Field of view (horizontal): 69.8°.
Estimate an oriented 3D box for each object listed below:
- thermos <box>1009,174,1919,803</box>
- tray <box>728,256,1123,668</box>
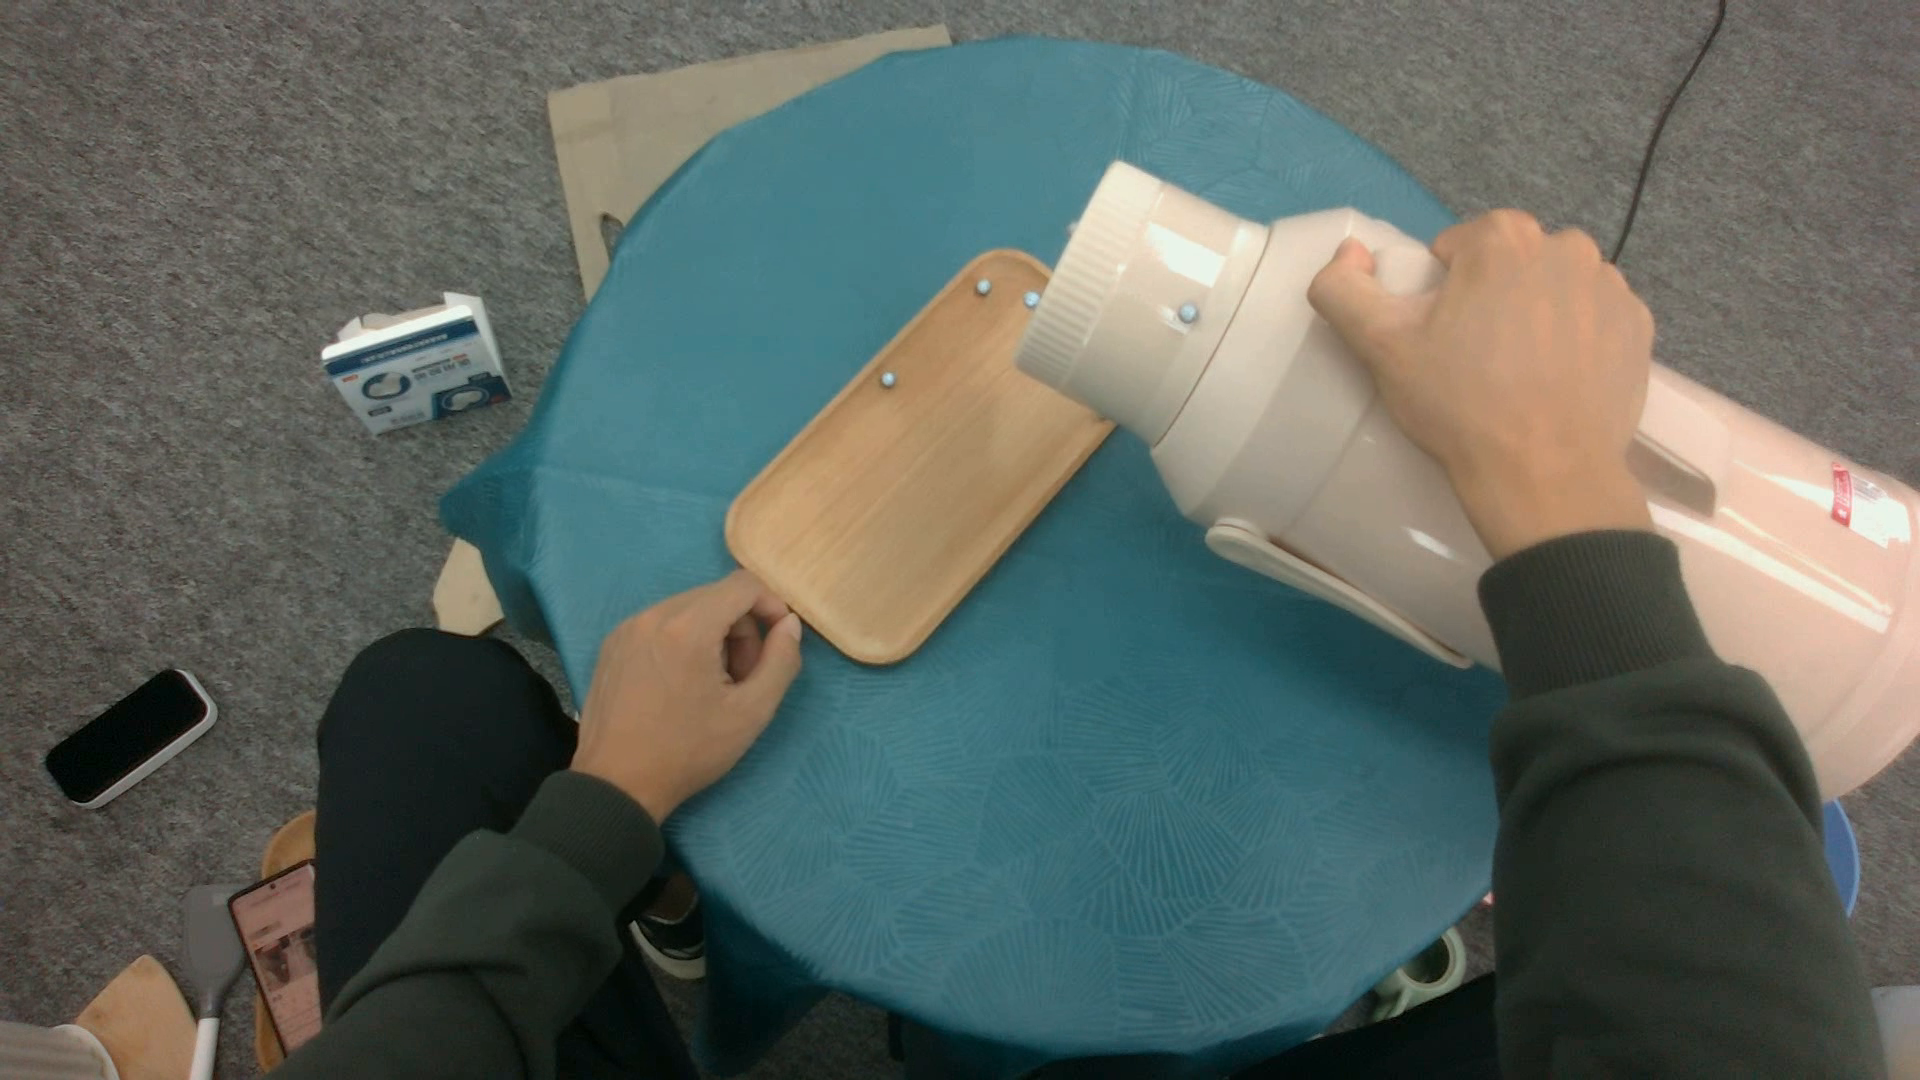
[{"bbox_3d":[0.227,-0.038,0.633,0.406,0.206,0.176,27,74,1],"label":"thermos"},{"bbox_3d":[-0.008,-0.049,0.773,0.130,0.023,0.251,39,72,11],"label":"tray"}]
